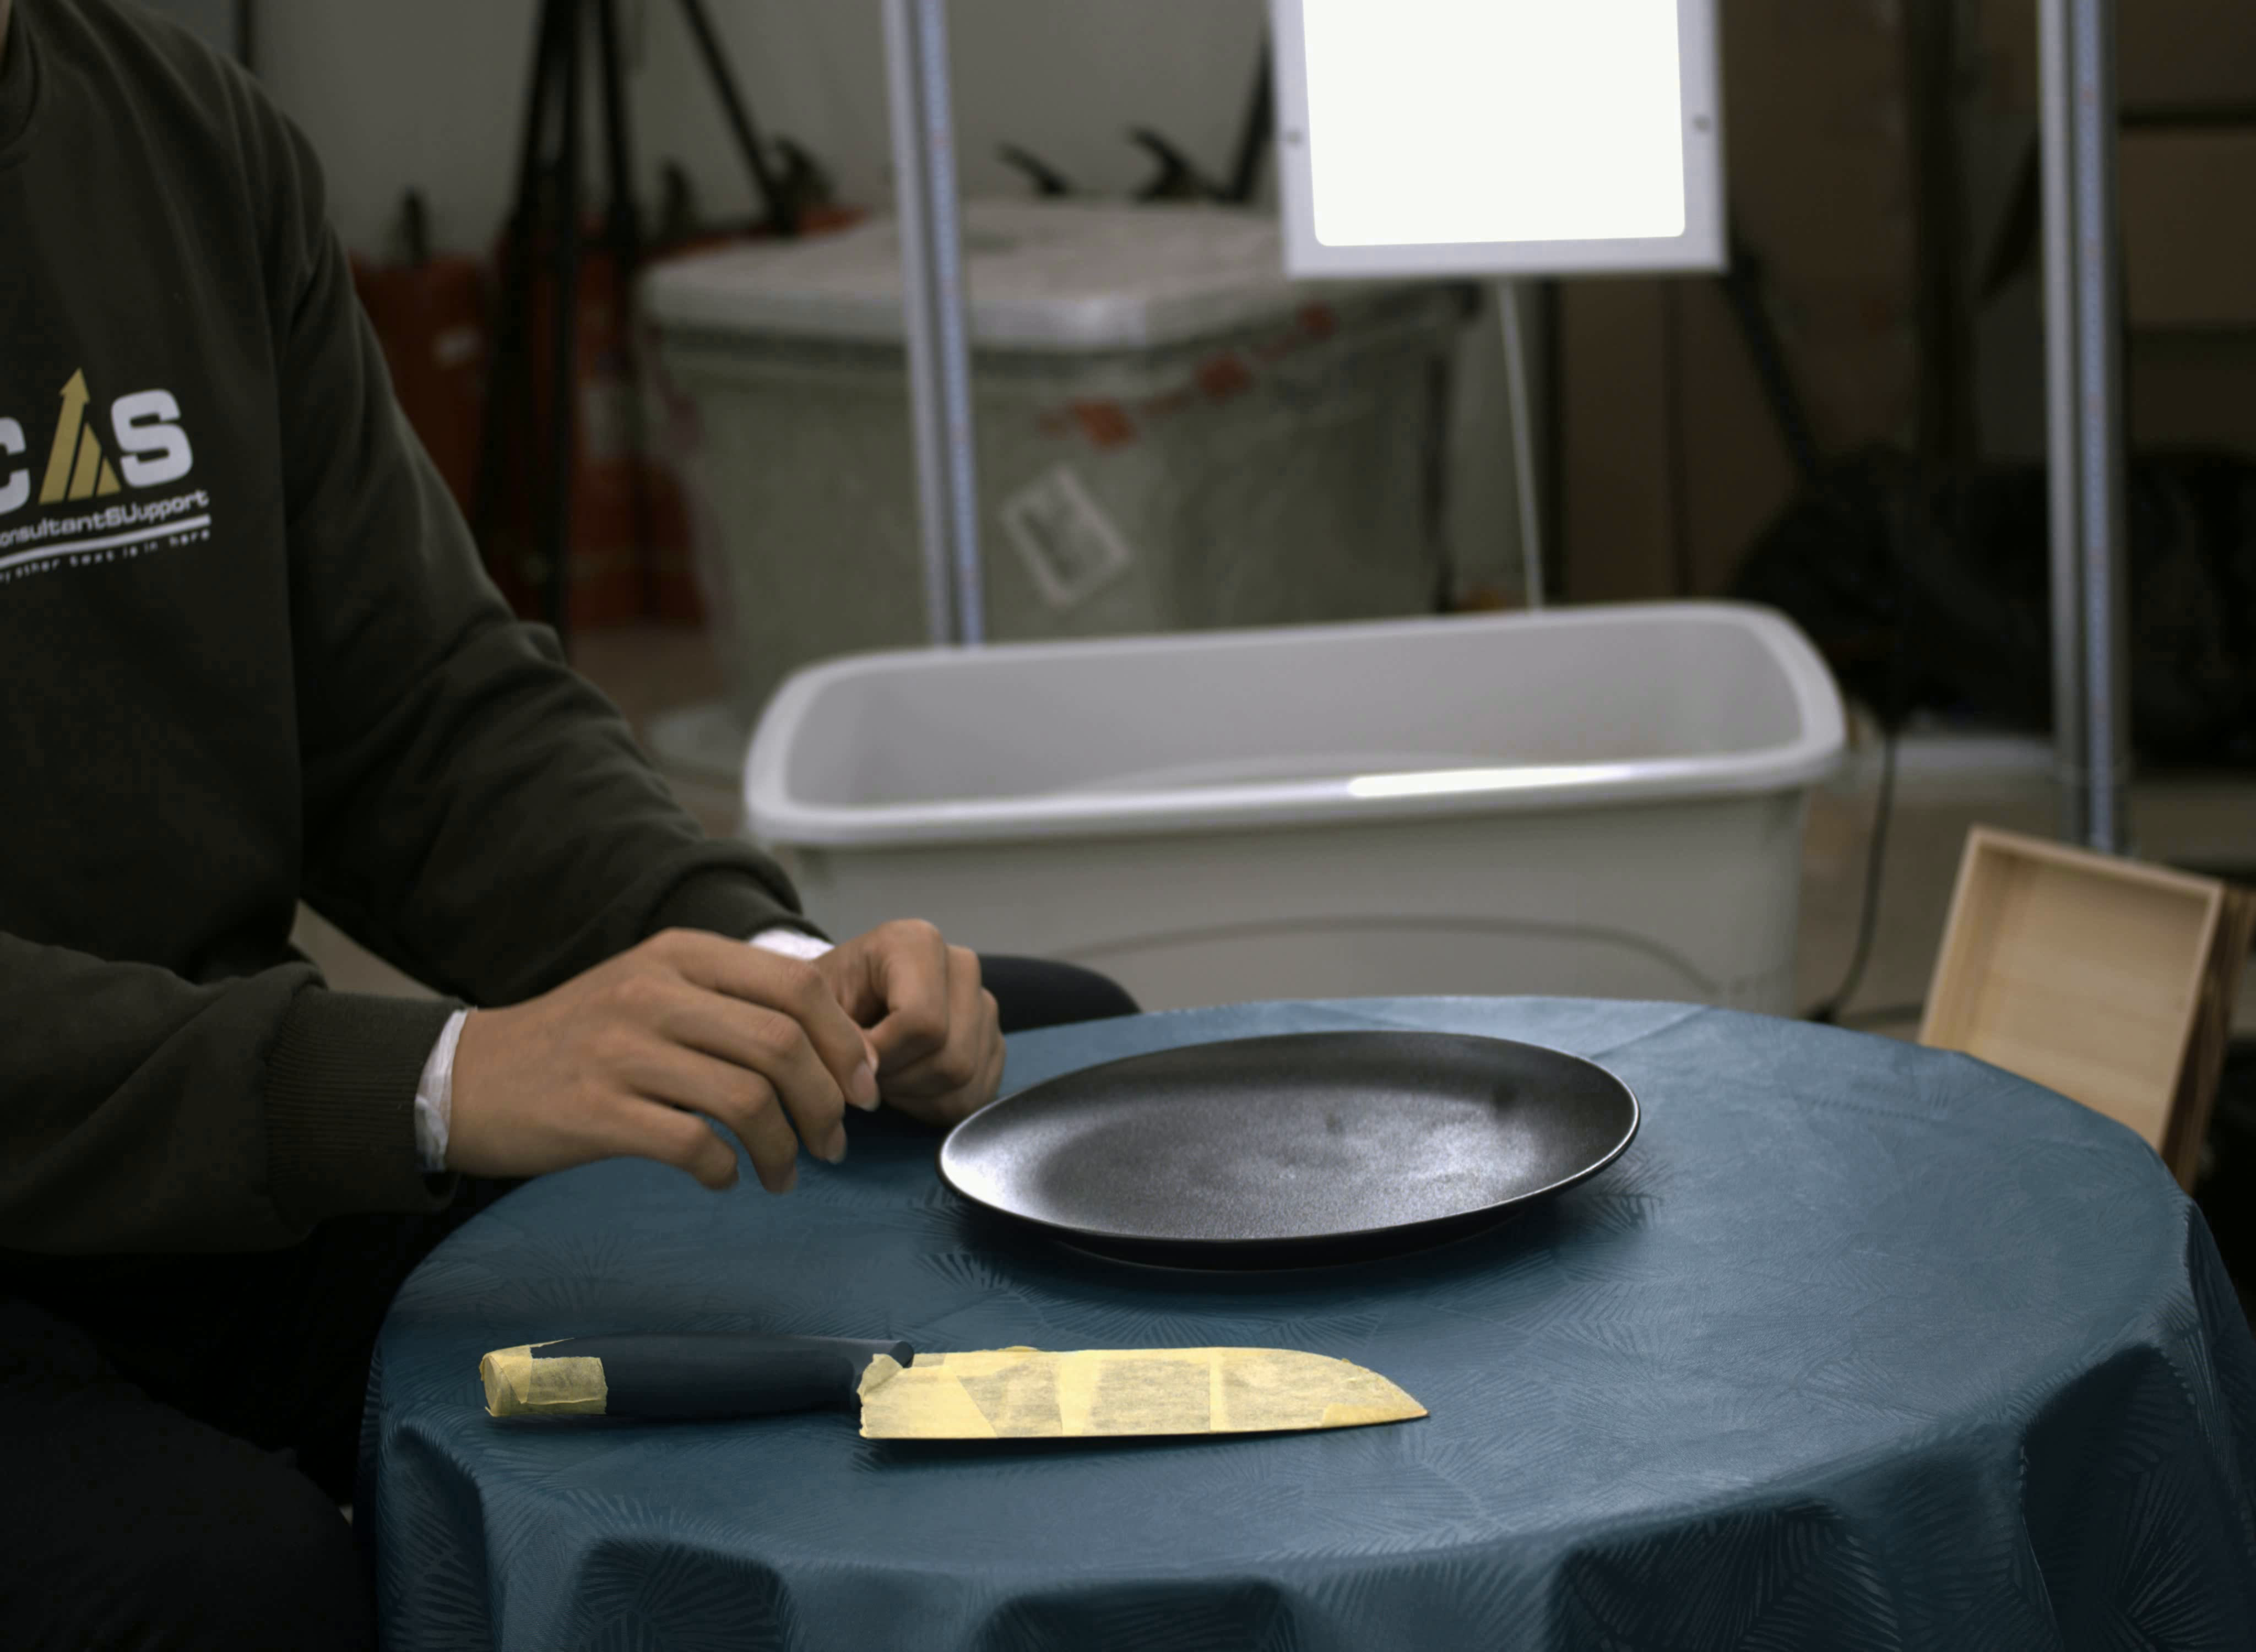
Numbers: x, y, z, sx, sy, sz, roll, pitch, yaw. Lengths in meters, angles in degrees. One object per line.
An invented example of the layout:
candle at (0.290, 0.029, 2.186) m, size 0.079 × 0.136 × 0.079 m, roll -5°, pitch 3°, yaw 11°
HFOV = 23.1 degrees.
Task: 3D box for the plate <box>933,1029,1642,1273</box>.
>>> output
plate at (0.056, 0.114, 1.886) m, size 0.244 × 0.023 × 0.244 m, roll -5°, pitch 14°, yaw 0°

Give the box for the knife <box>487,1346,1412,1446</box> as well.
knife at (-0.056, 0.176, 1.691) m, size 0.290 × 0.027 × 0.080 m, roll -3°, pitch 12°, yaw 7°
